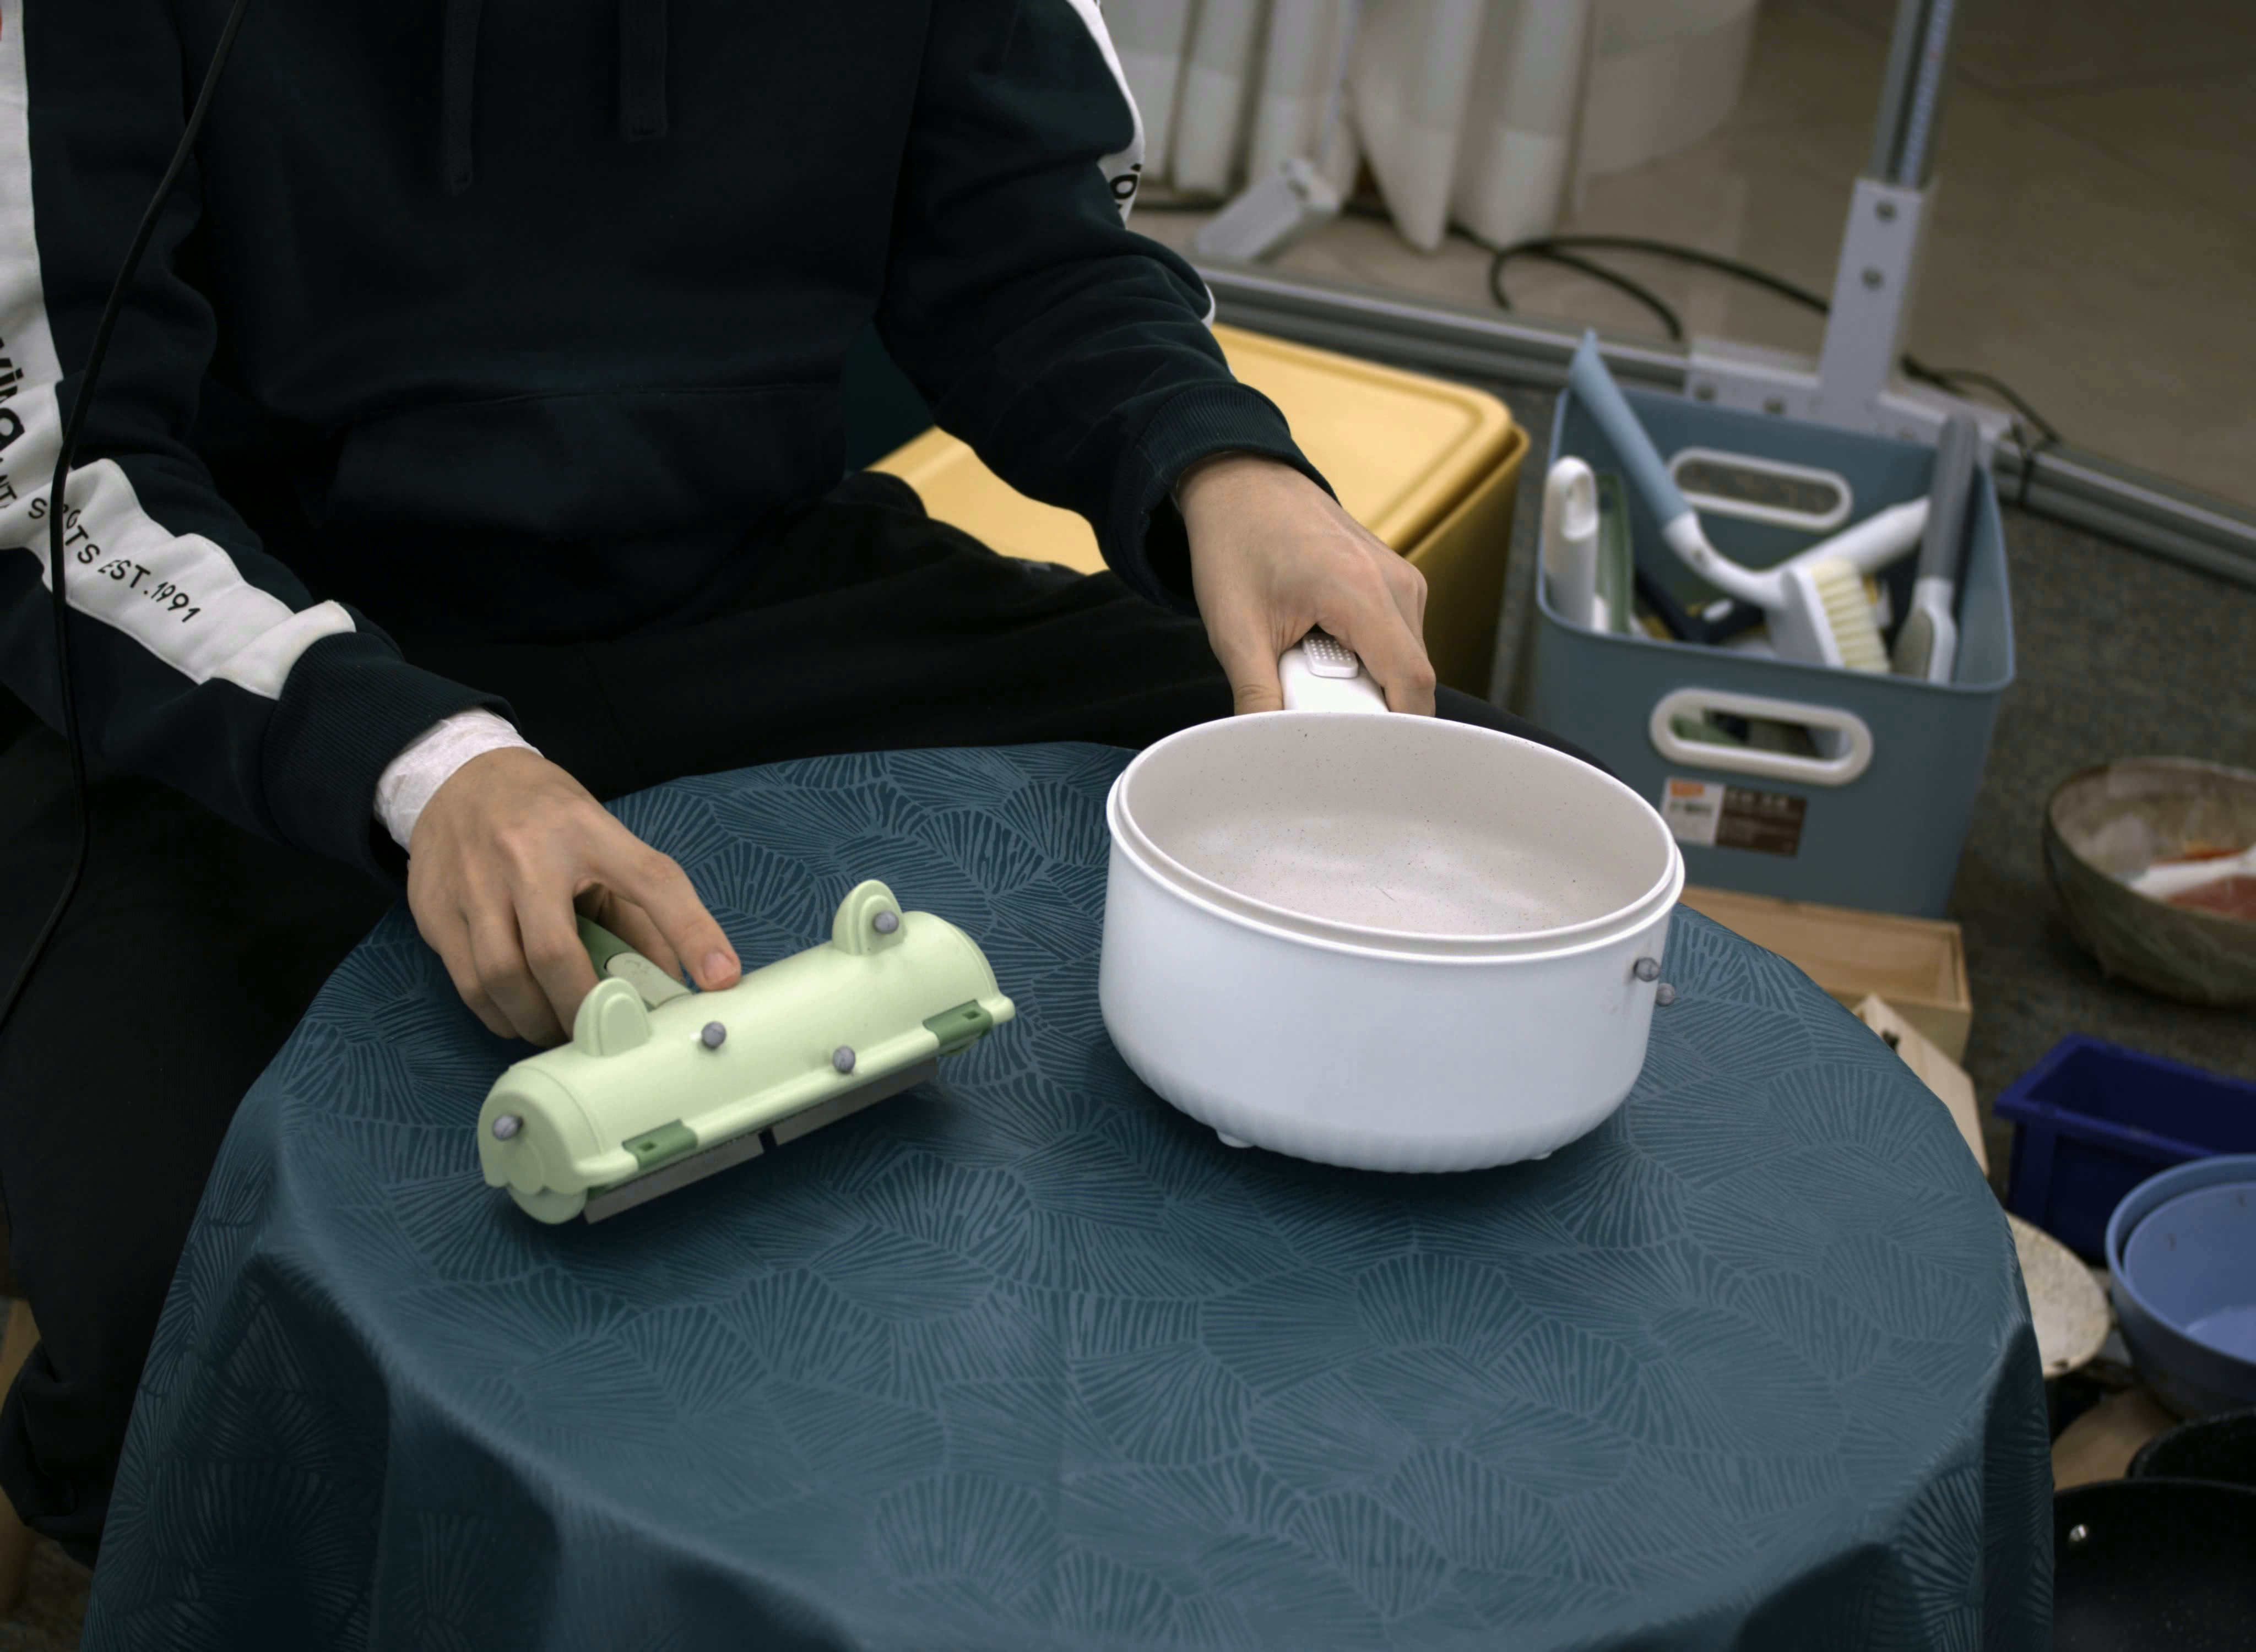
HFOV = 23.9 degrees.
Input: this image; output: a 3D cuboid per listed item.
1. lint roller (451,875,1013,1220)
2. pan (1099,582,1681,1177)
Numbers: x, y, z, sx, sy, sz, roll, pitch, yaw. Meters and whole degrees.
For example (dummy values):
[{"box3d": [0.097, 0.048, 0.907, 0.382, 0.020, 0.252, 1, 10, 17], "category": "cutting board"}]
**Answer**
[{"box3d": [-0.166, 0.046, 1.806, 0.197, 0.082, 0.185, -21, 43, -41], "category": "lint roller"}, {"box3d": [0.080, 0.016, 1.928, 0.200, 0.102, 0.357, 1, 22, -7], "category": "pan"}]
